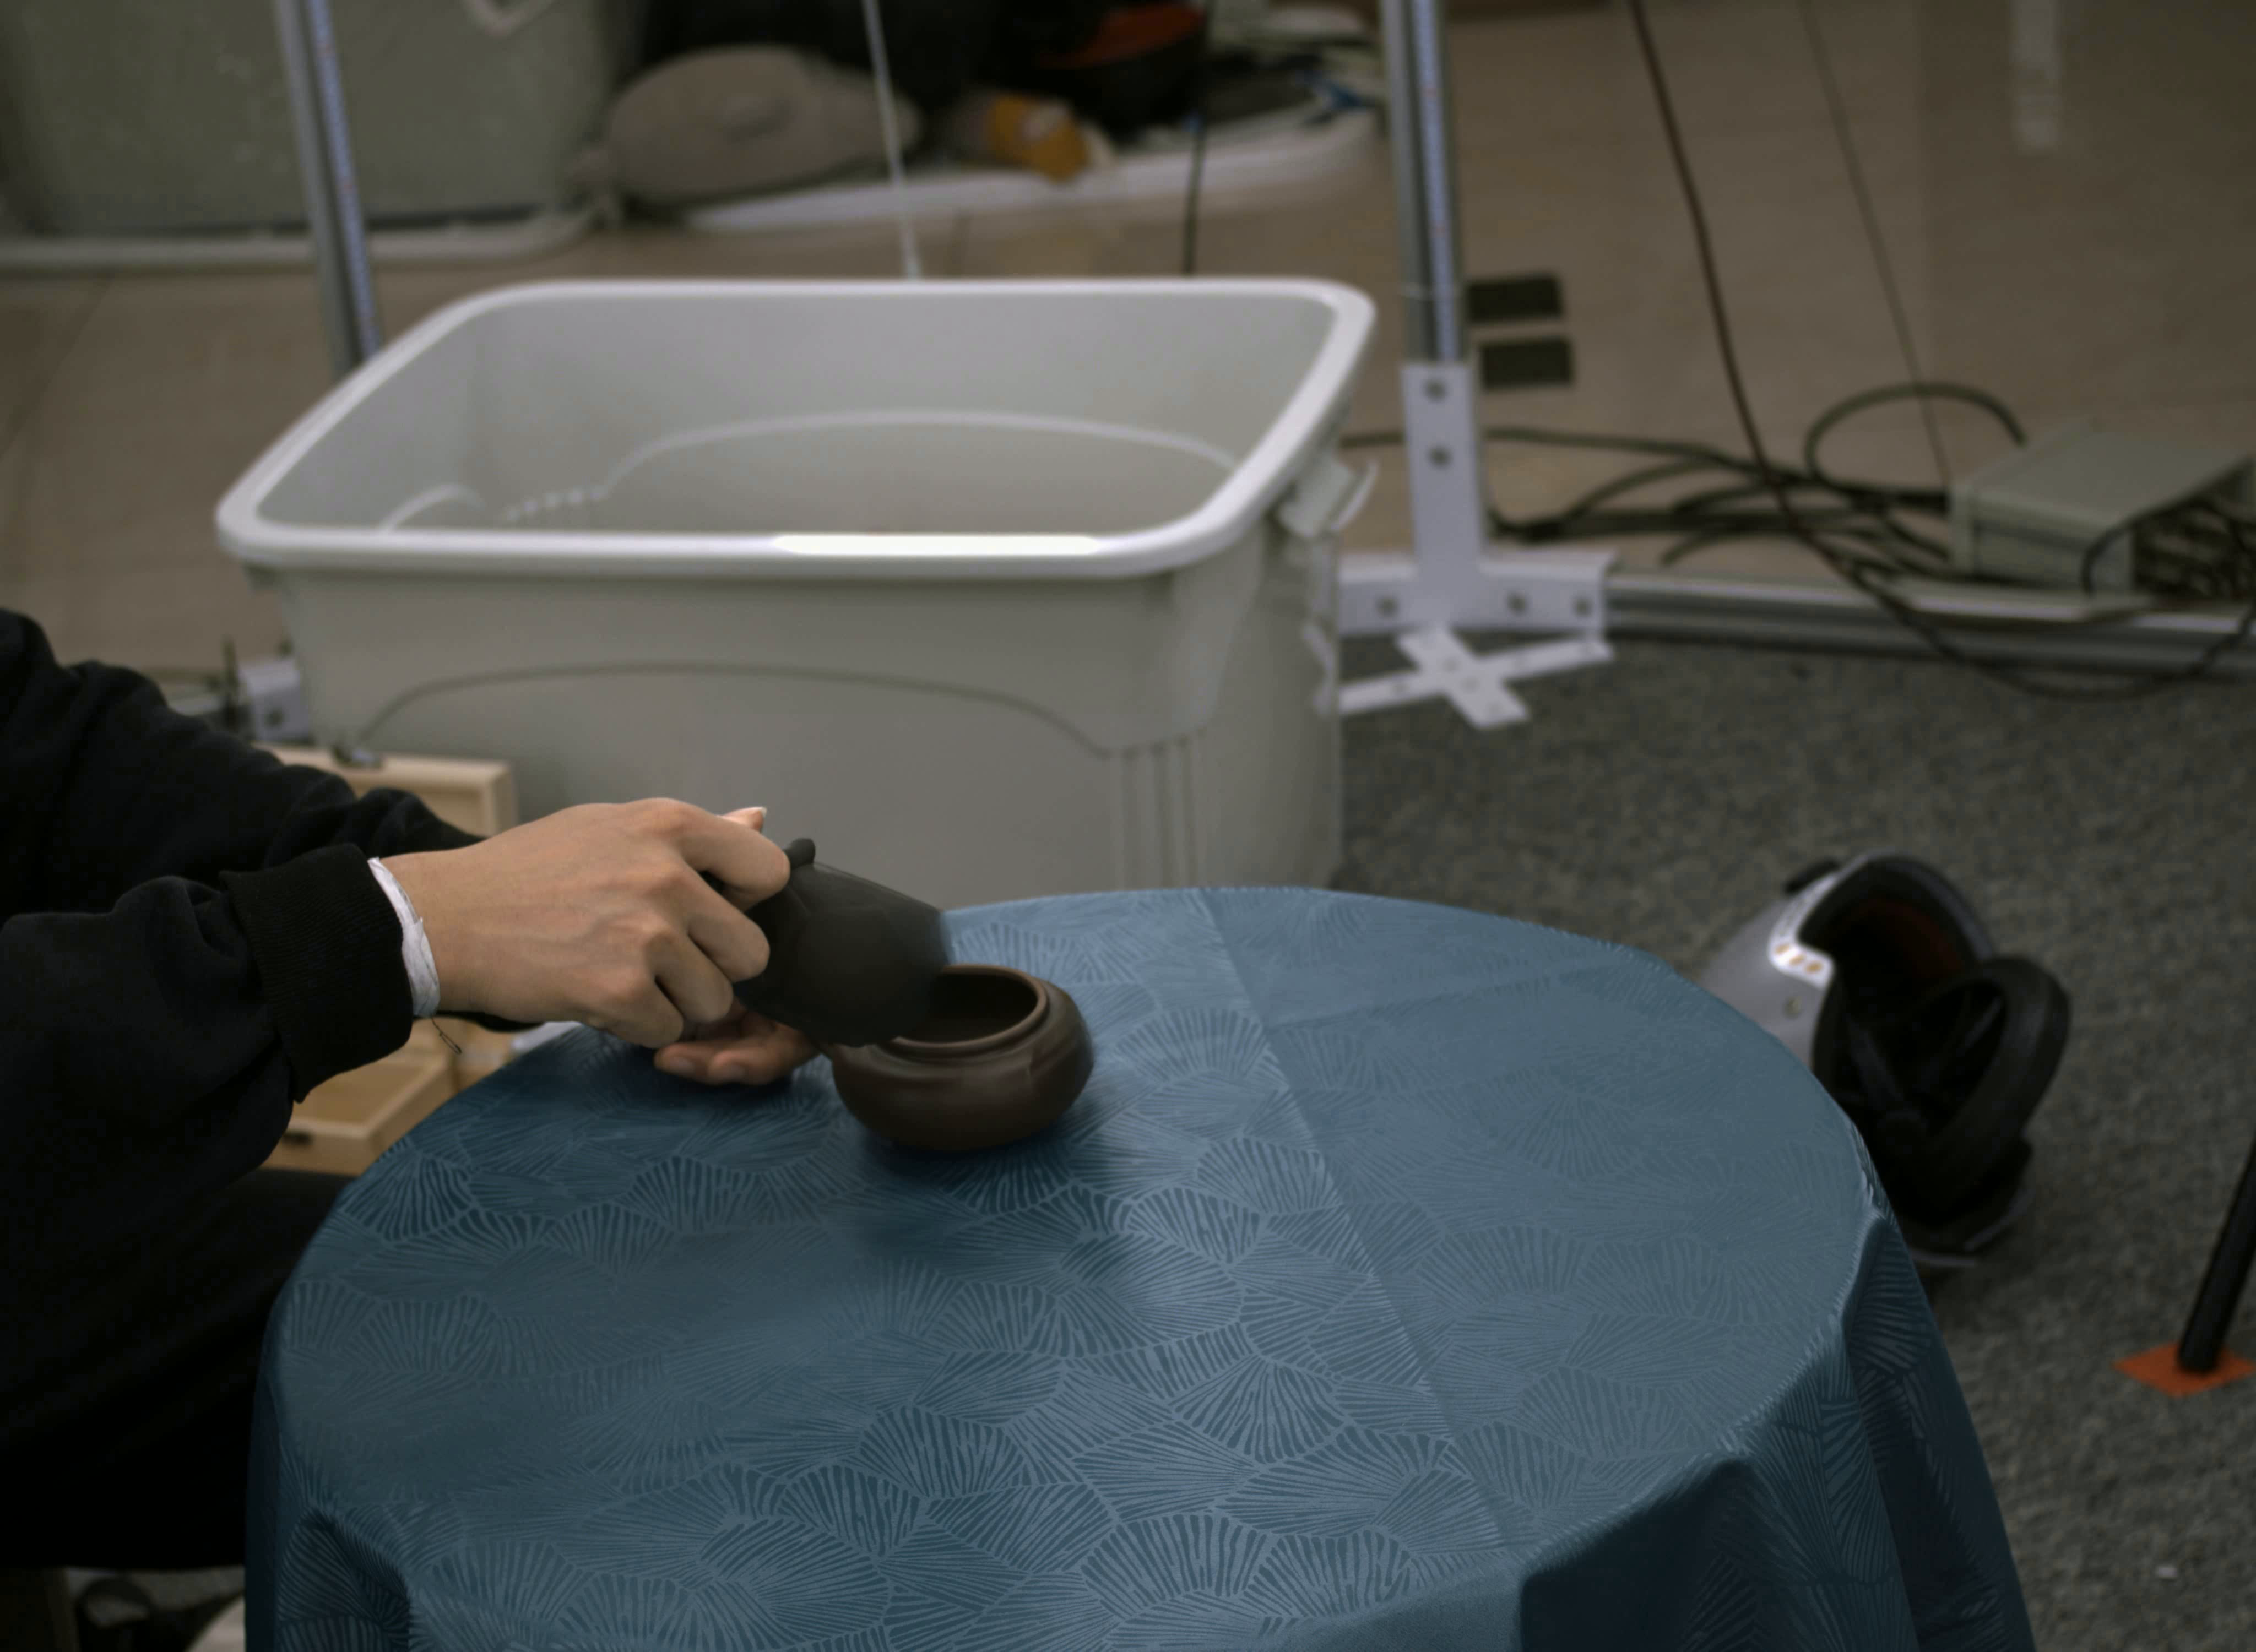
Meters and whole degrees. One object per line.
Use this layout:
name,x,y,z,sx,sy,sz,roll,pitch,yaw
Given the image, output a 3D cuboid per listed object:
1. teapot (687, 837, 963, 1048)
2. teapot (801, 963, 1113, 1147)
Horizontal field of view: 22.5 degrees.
teapot,-0.113,0.044,2.102,0.092,0.064,0.155,14,-10,38
teapot,-0.068,0.087,2.210,0.152,0.054,0.101,13,29,30
